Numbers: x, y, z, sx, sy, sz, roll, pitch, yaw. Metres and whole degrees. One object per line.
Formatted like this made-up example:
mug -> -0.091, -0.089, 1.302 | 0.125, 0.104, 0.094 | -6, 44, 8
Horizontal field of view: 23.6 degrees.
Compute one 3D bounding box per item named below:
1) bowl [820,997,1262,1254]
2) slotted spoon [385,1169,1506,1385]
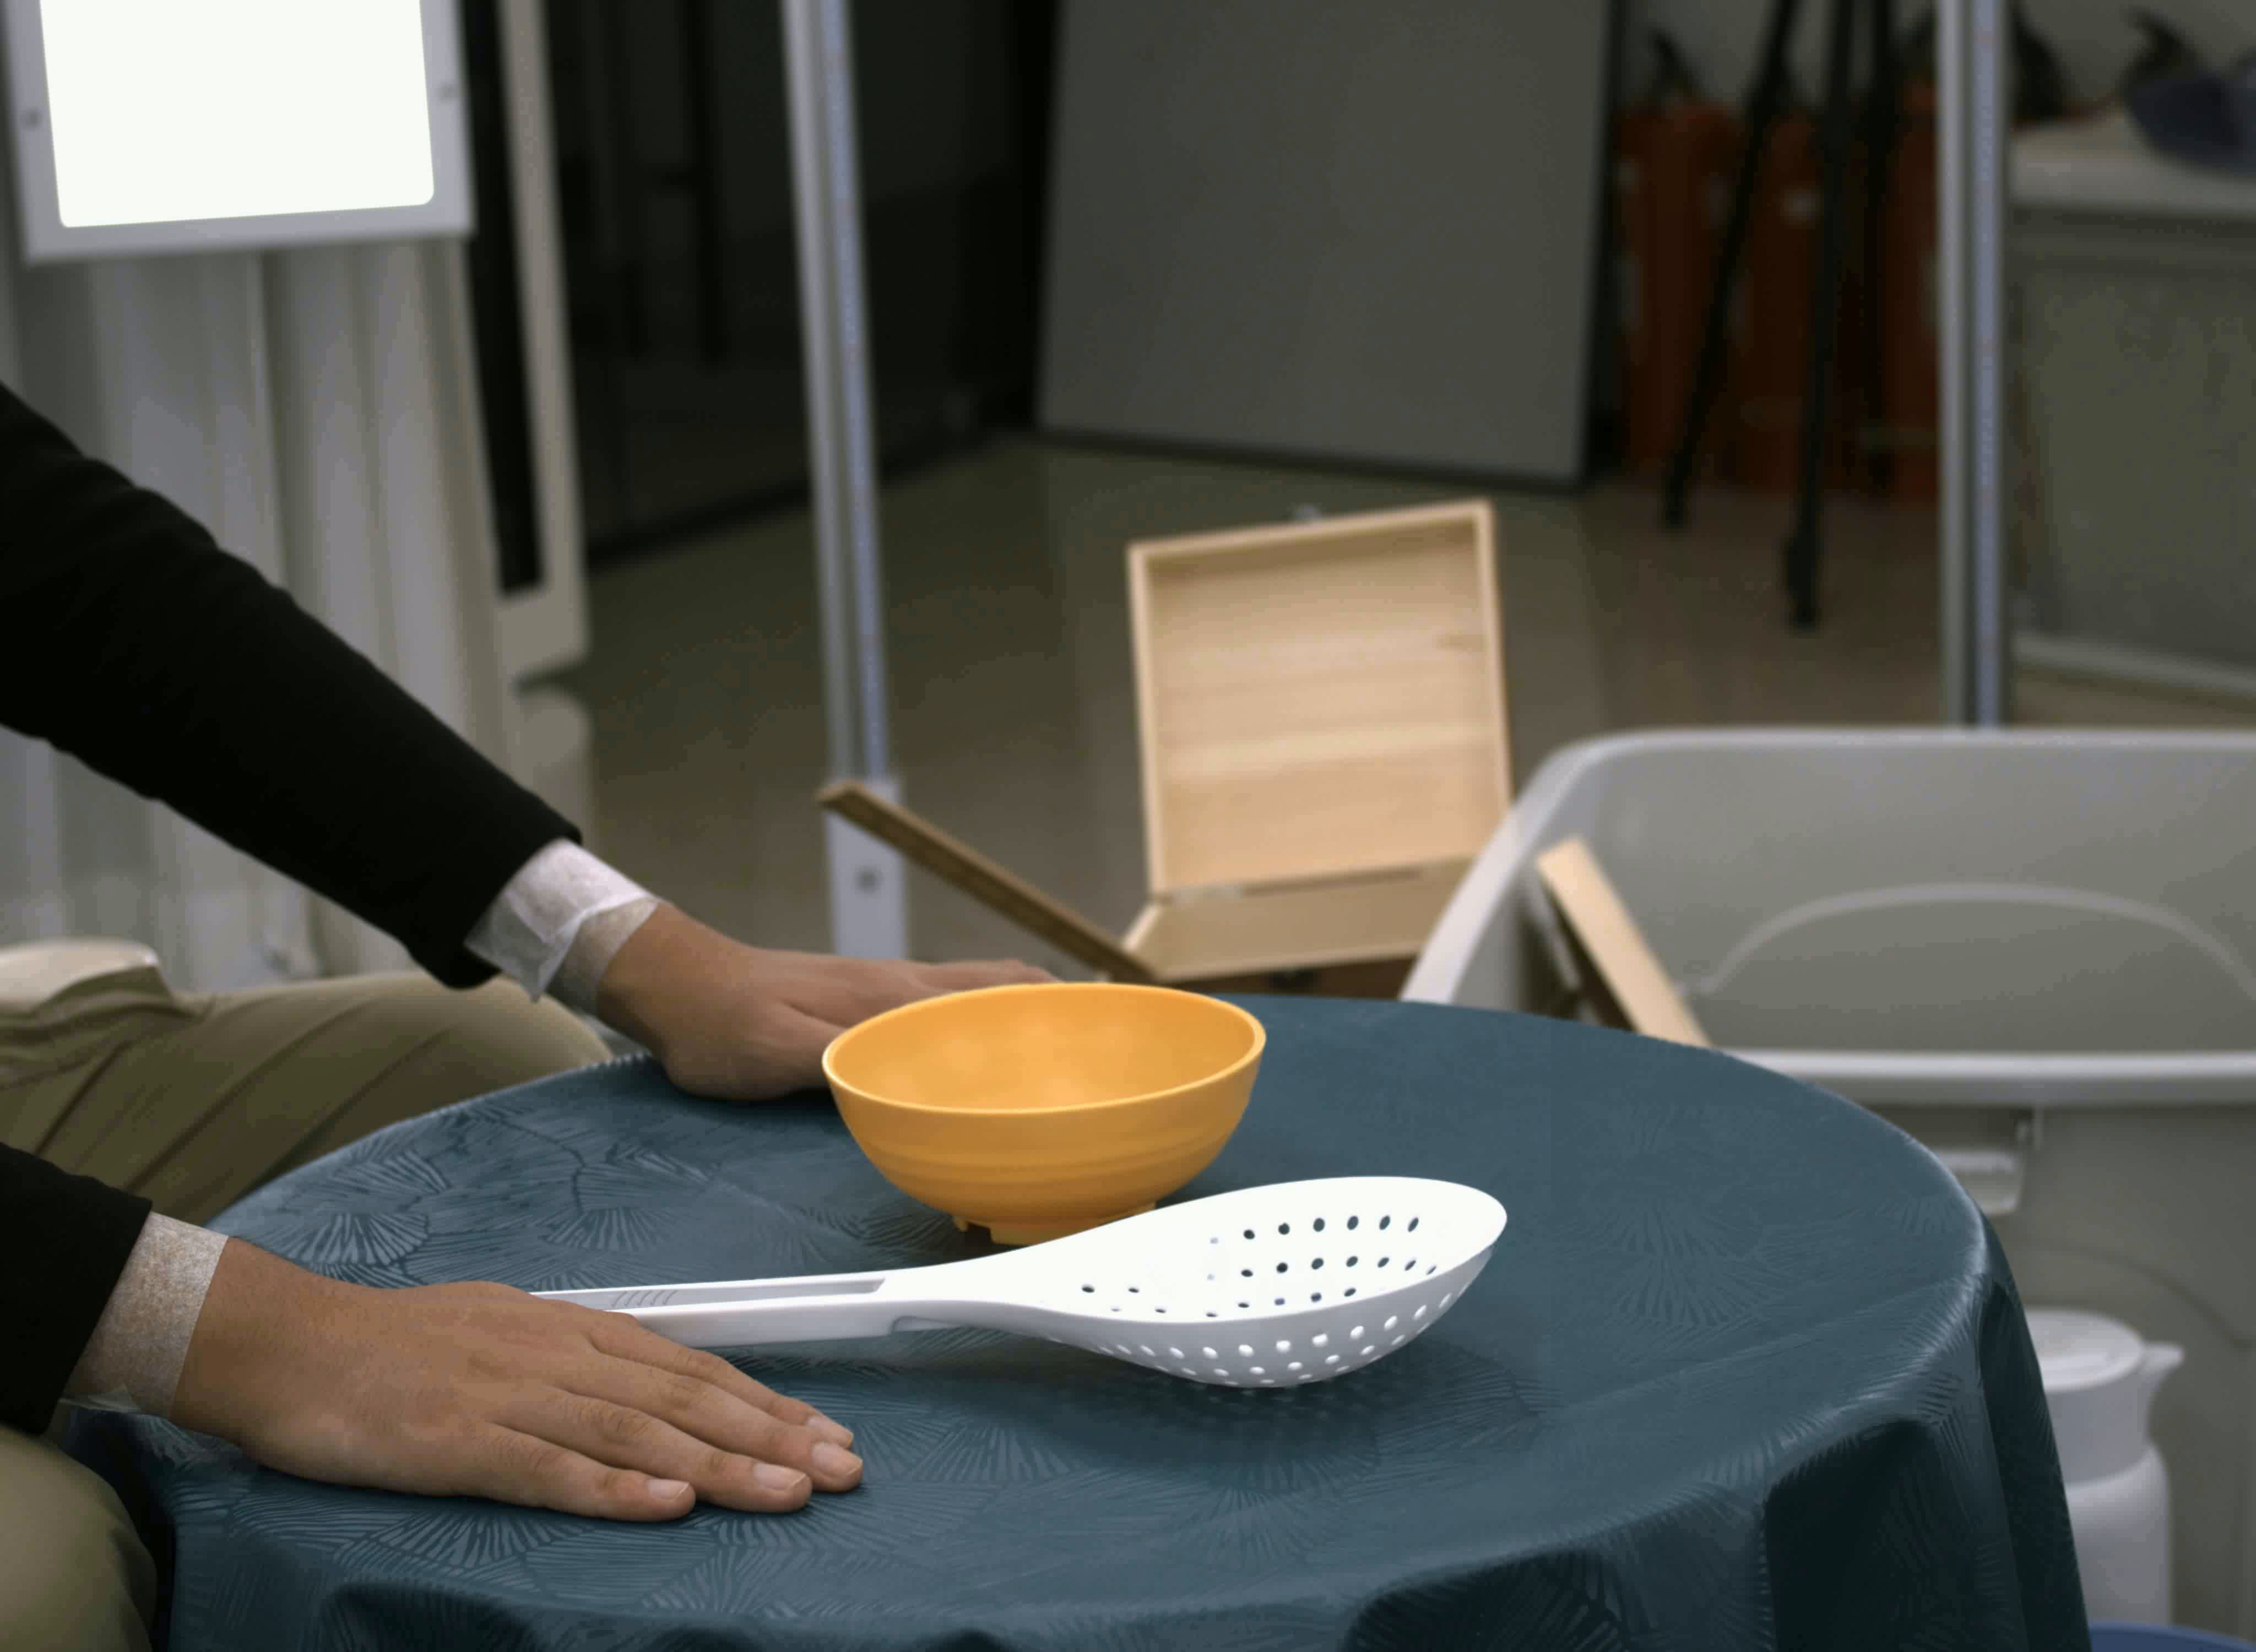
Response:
bowl -> -0.027, 0.101, 1.744 | 0.143, 0.061, 0.145 | -3, 12, 0
slotted spoon -> -0.057, 0.141, 1.610 | 0.348, 0.046, 0.135 | -2, 13, 15
